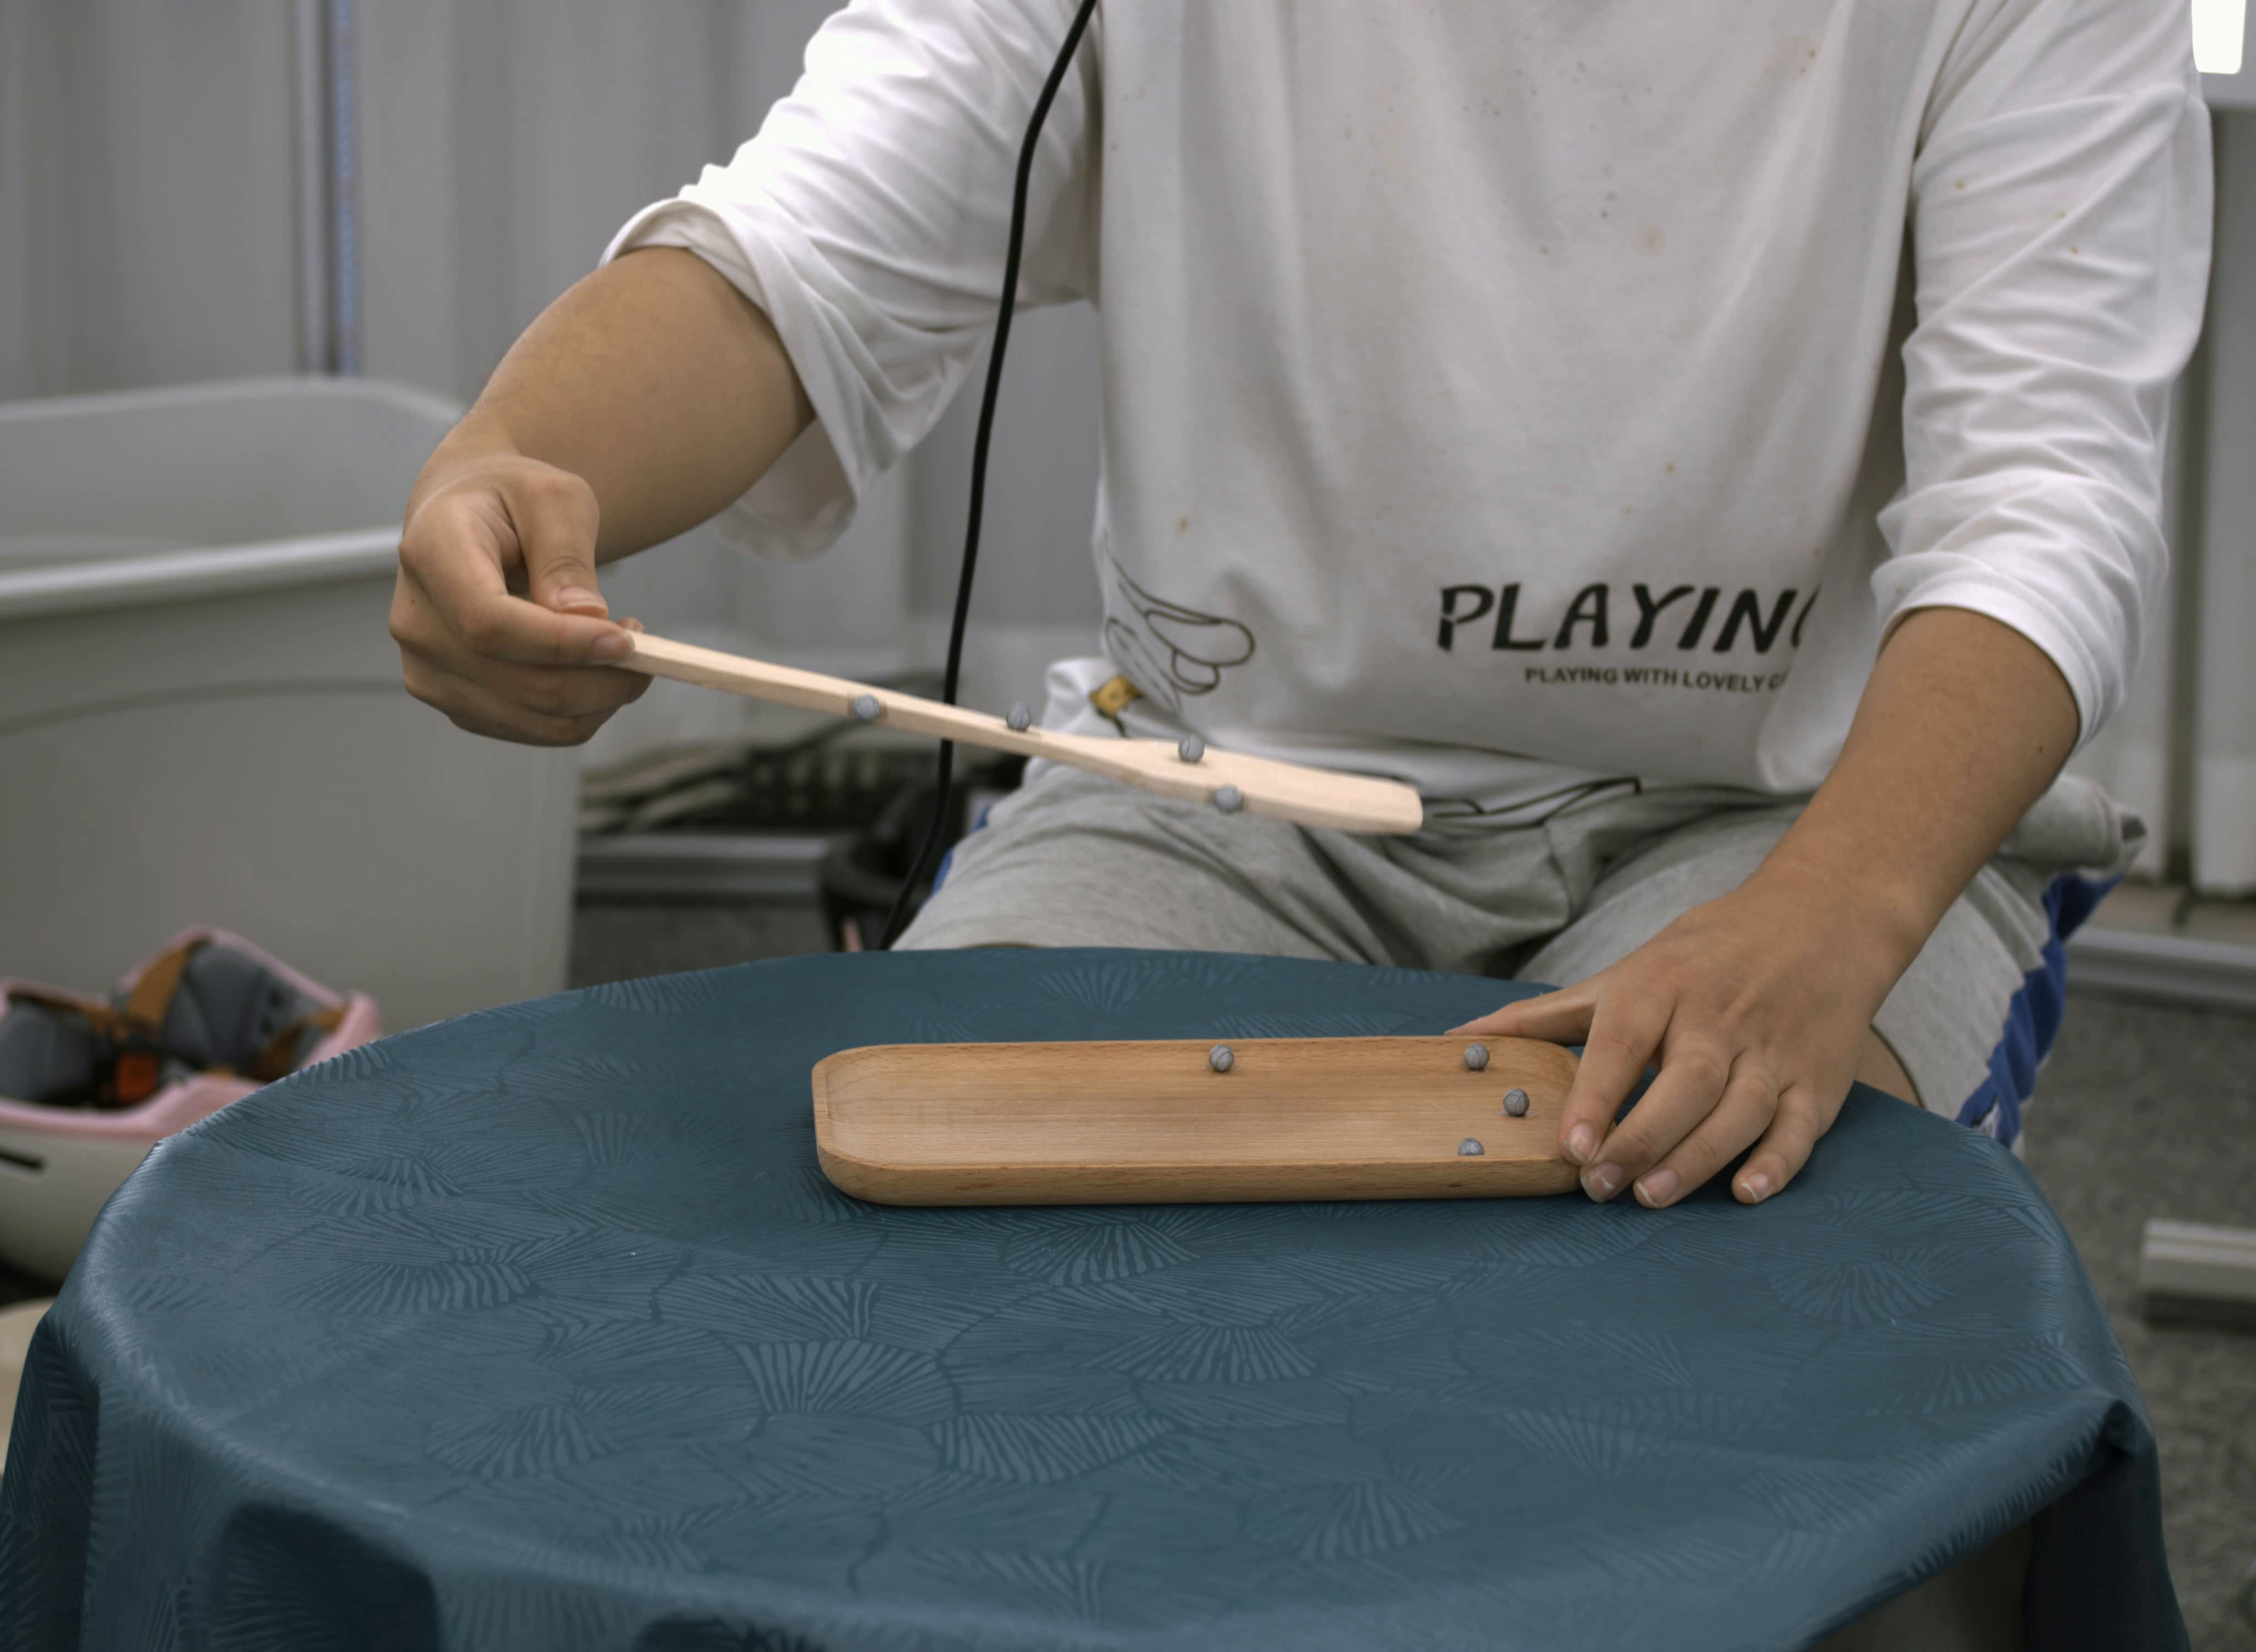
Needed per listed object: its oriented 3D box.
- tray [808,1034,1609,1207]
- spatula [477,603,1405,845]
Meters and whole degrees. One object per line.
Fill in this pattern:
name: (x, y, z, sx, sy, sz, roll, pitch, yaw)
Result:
tray: (0.024, 0.093, 1.674, 0.250, 0.023, 0.130, -1, 13, -4)
spatula: (-0.057, -0.031, 1.619, 0.292, 0.011, 0.072, 13, 12, -3)
